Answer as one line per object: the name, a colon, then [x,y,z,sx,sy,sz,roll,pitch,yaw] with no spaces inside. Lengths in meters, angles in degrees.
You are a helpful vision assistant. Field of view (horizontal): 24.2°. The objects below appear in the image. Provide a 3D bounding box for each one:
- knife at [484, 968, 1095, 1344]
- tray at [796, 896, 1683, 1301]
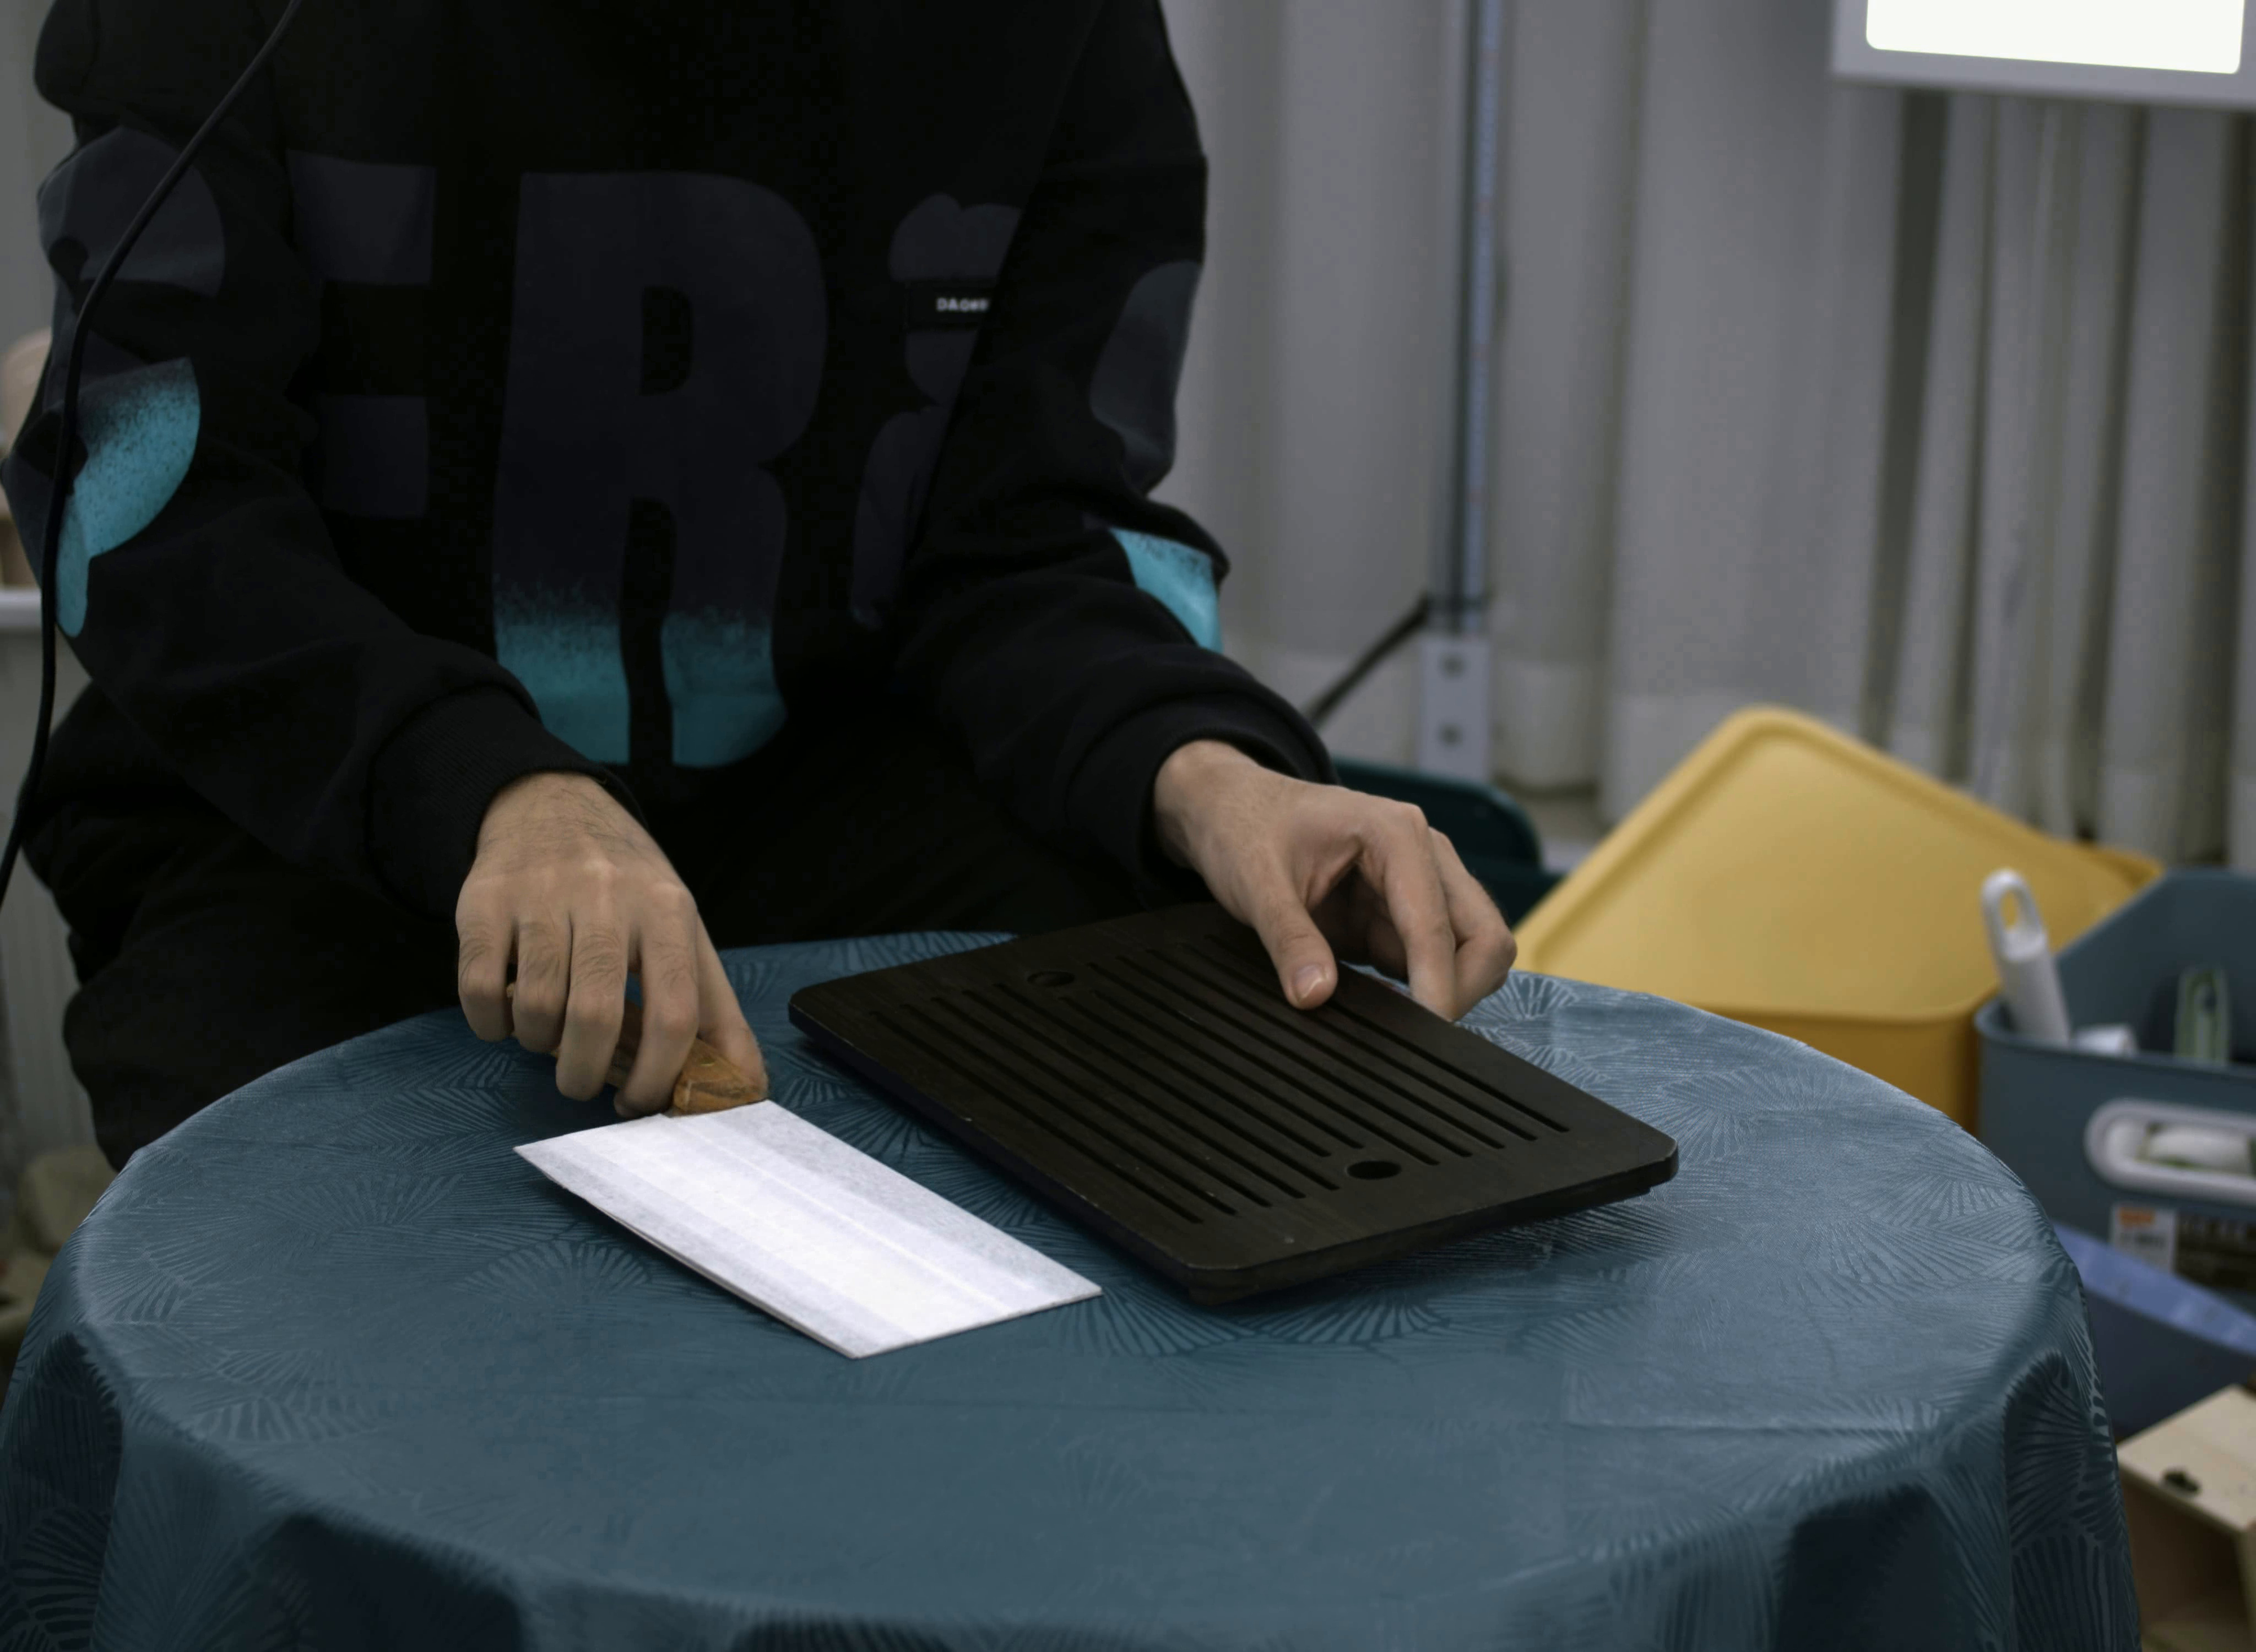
knife: [-0.131,0.101,1.622,0.093,0.021,0.301,-12,23,-35]
tray: [0.028,0.083,1.676,0.170,0.019,0.302,-12,20,-25]
